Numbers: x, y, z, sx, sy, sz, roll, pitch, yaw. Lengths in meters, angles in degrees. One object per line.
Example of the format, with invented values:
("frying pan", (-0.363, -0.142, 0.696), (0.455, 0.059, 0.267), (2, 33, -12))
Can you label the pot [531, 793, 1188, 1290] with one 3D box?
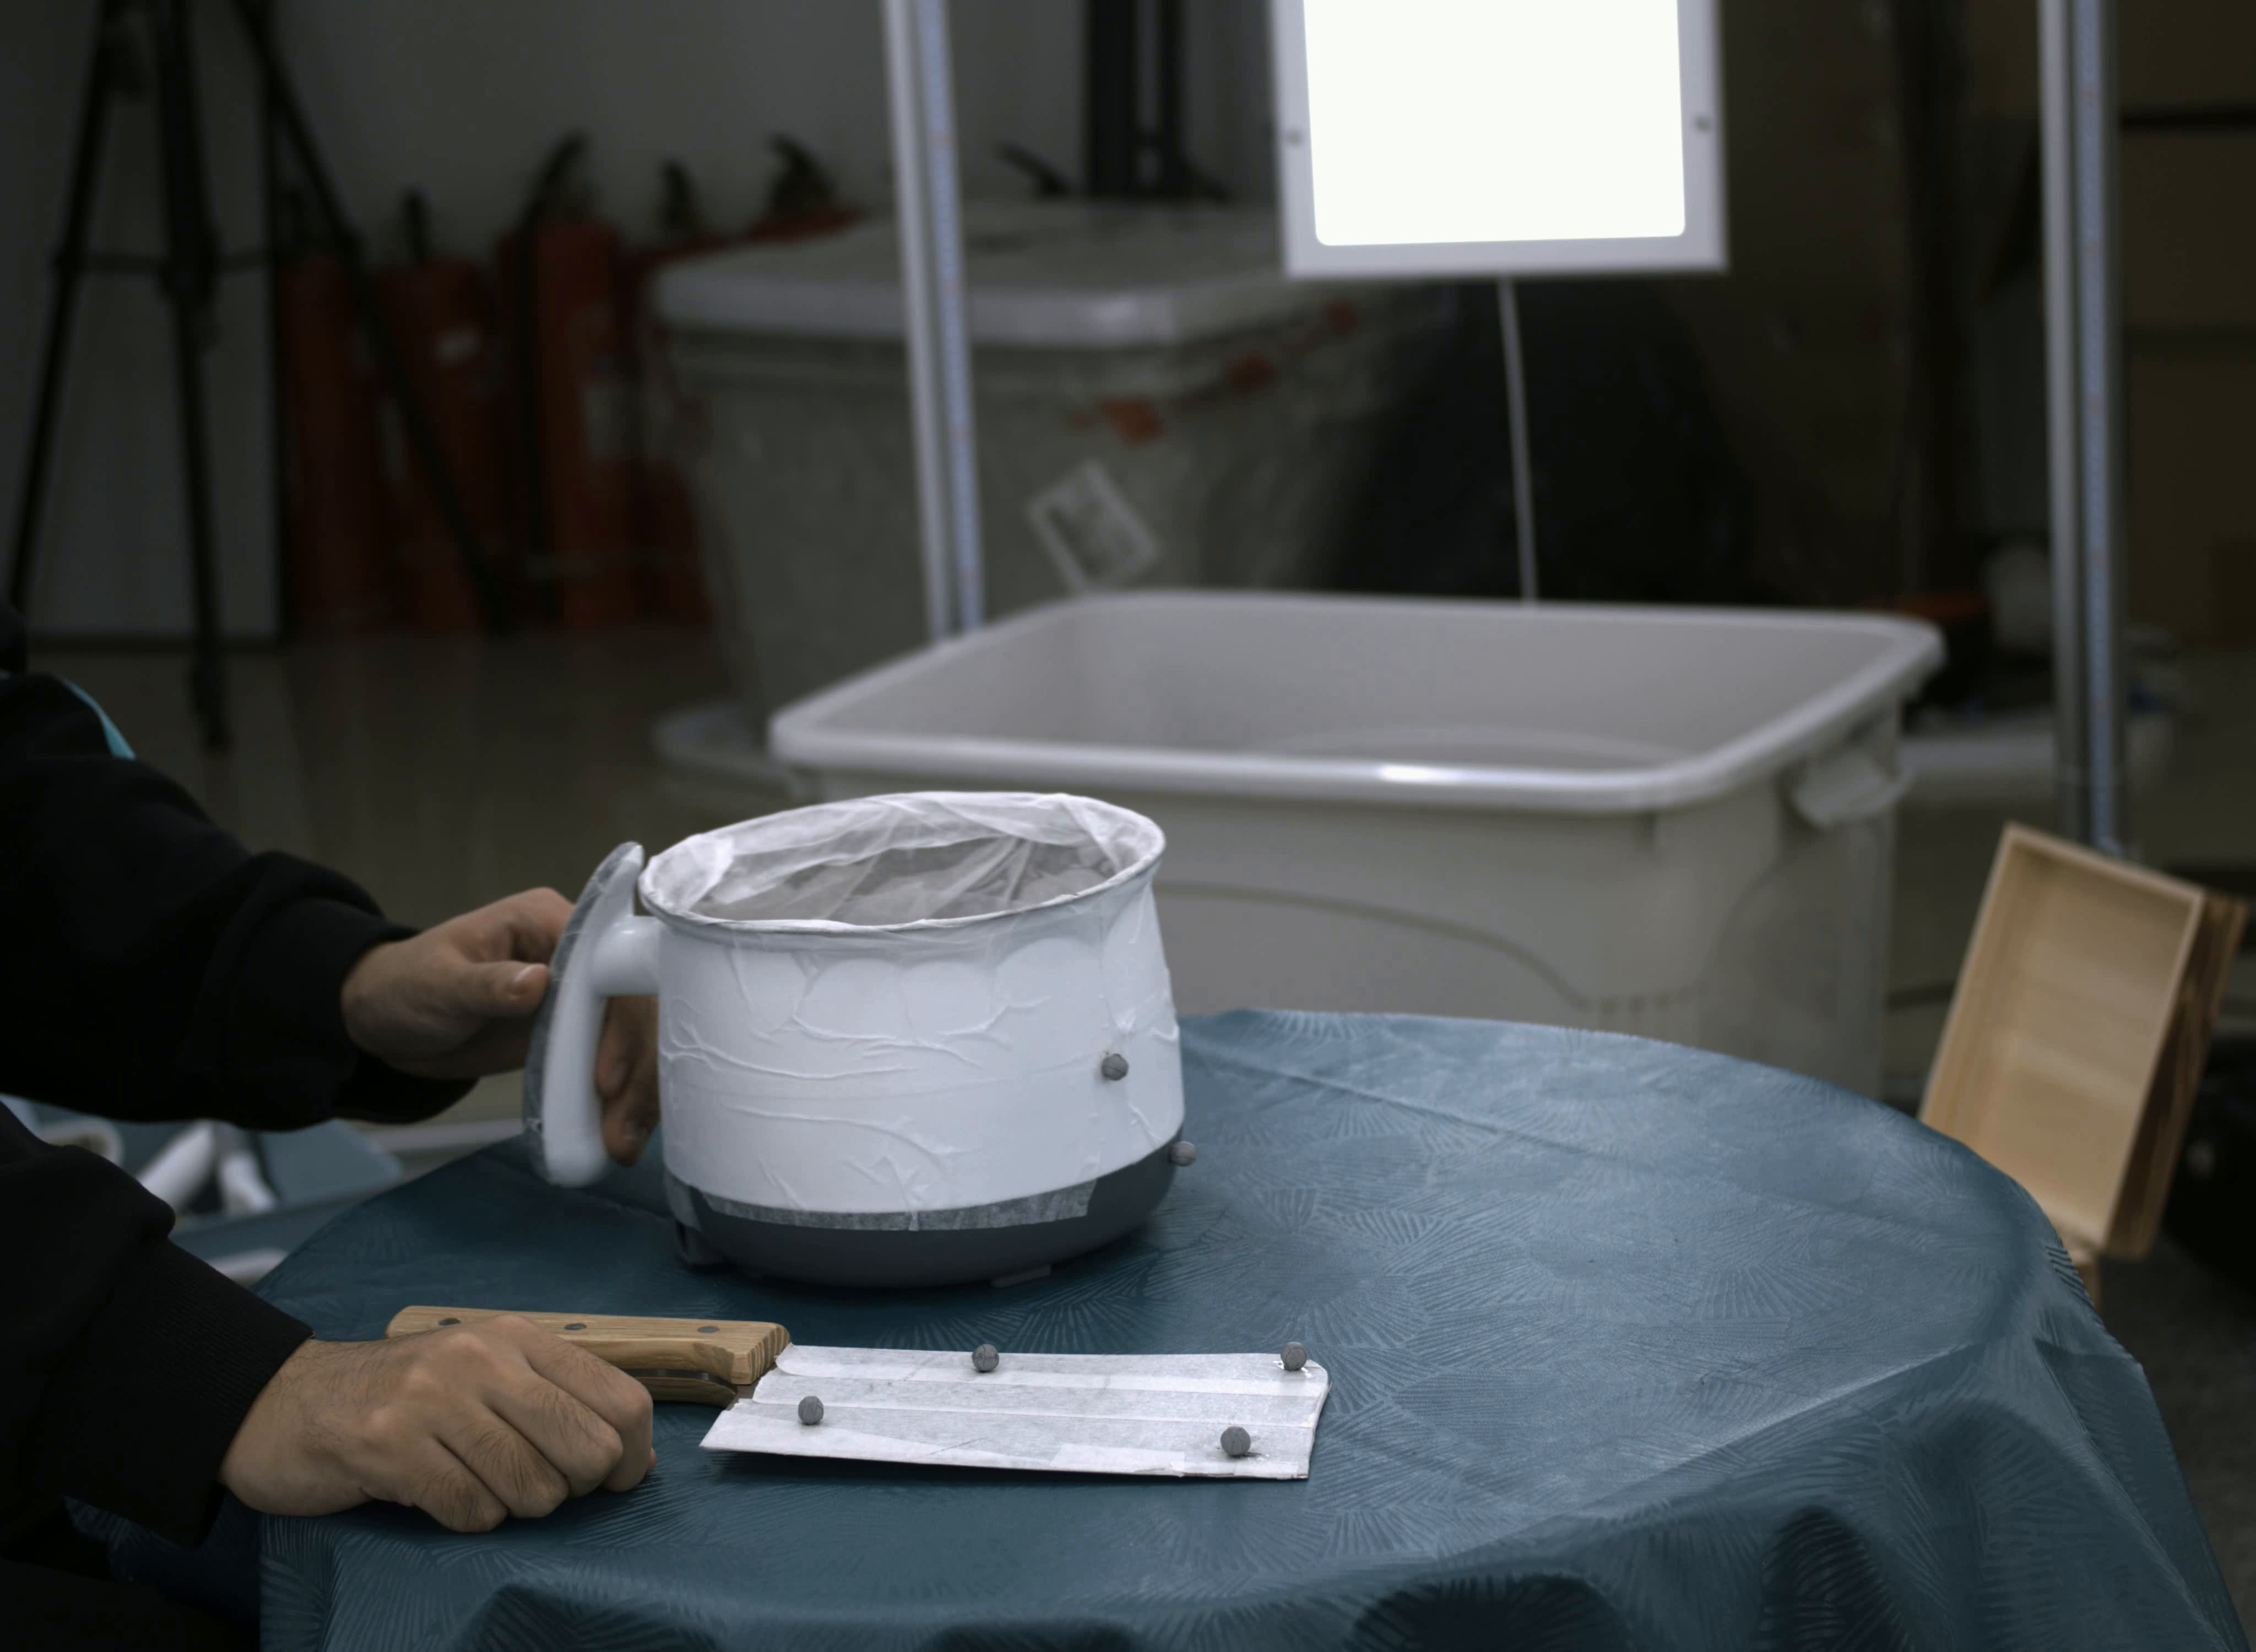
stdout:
("pot", (-0.095, 0.072, 1.867), (0.236, 0.137, 0.176), (0, 14, 19))

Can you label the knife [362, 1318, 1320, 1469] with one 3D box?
("knife", (-0.088, 0.174, 1.700), (0.319, 0.022, 0.112), (2, 16, 17))
